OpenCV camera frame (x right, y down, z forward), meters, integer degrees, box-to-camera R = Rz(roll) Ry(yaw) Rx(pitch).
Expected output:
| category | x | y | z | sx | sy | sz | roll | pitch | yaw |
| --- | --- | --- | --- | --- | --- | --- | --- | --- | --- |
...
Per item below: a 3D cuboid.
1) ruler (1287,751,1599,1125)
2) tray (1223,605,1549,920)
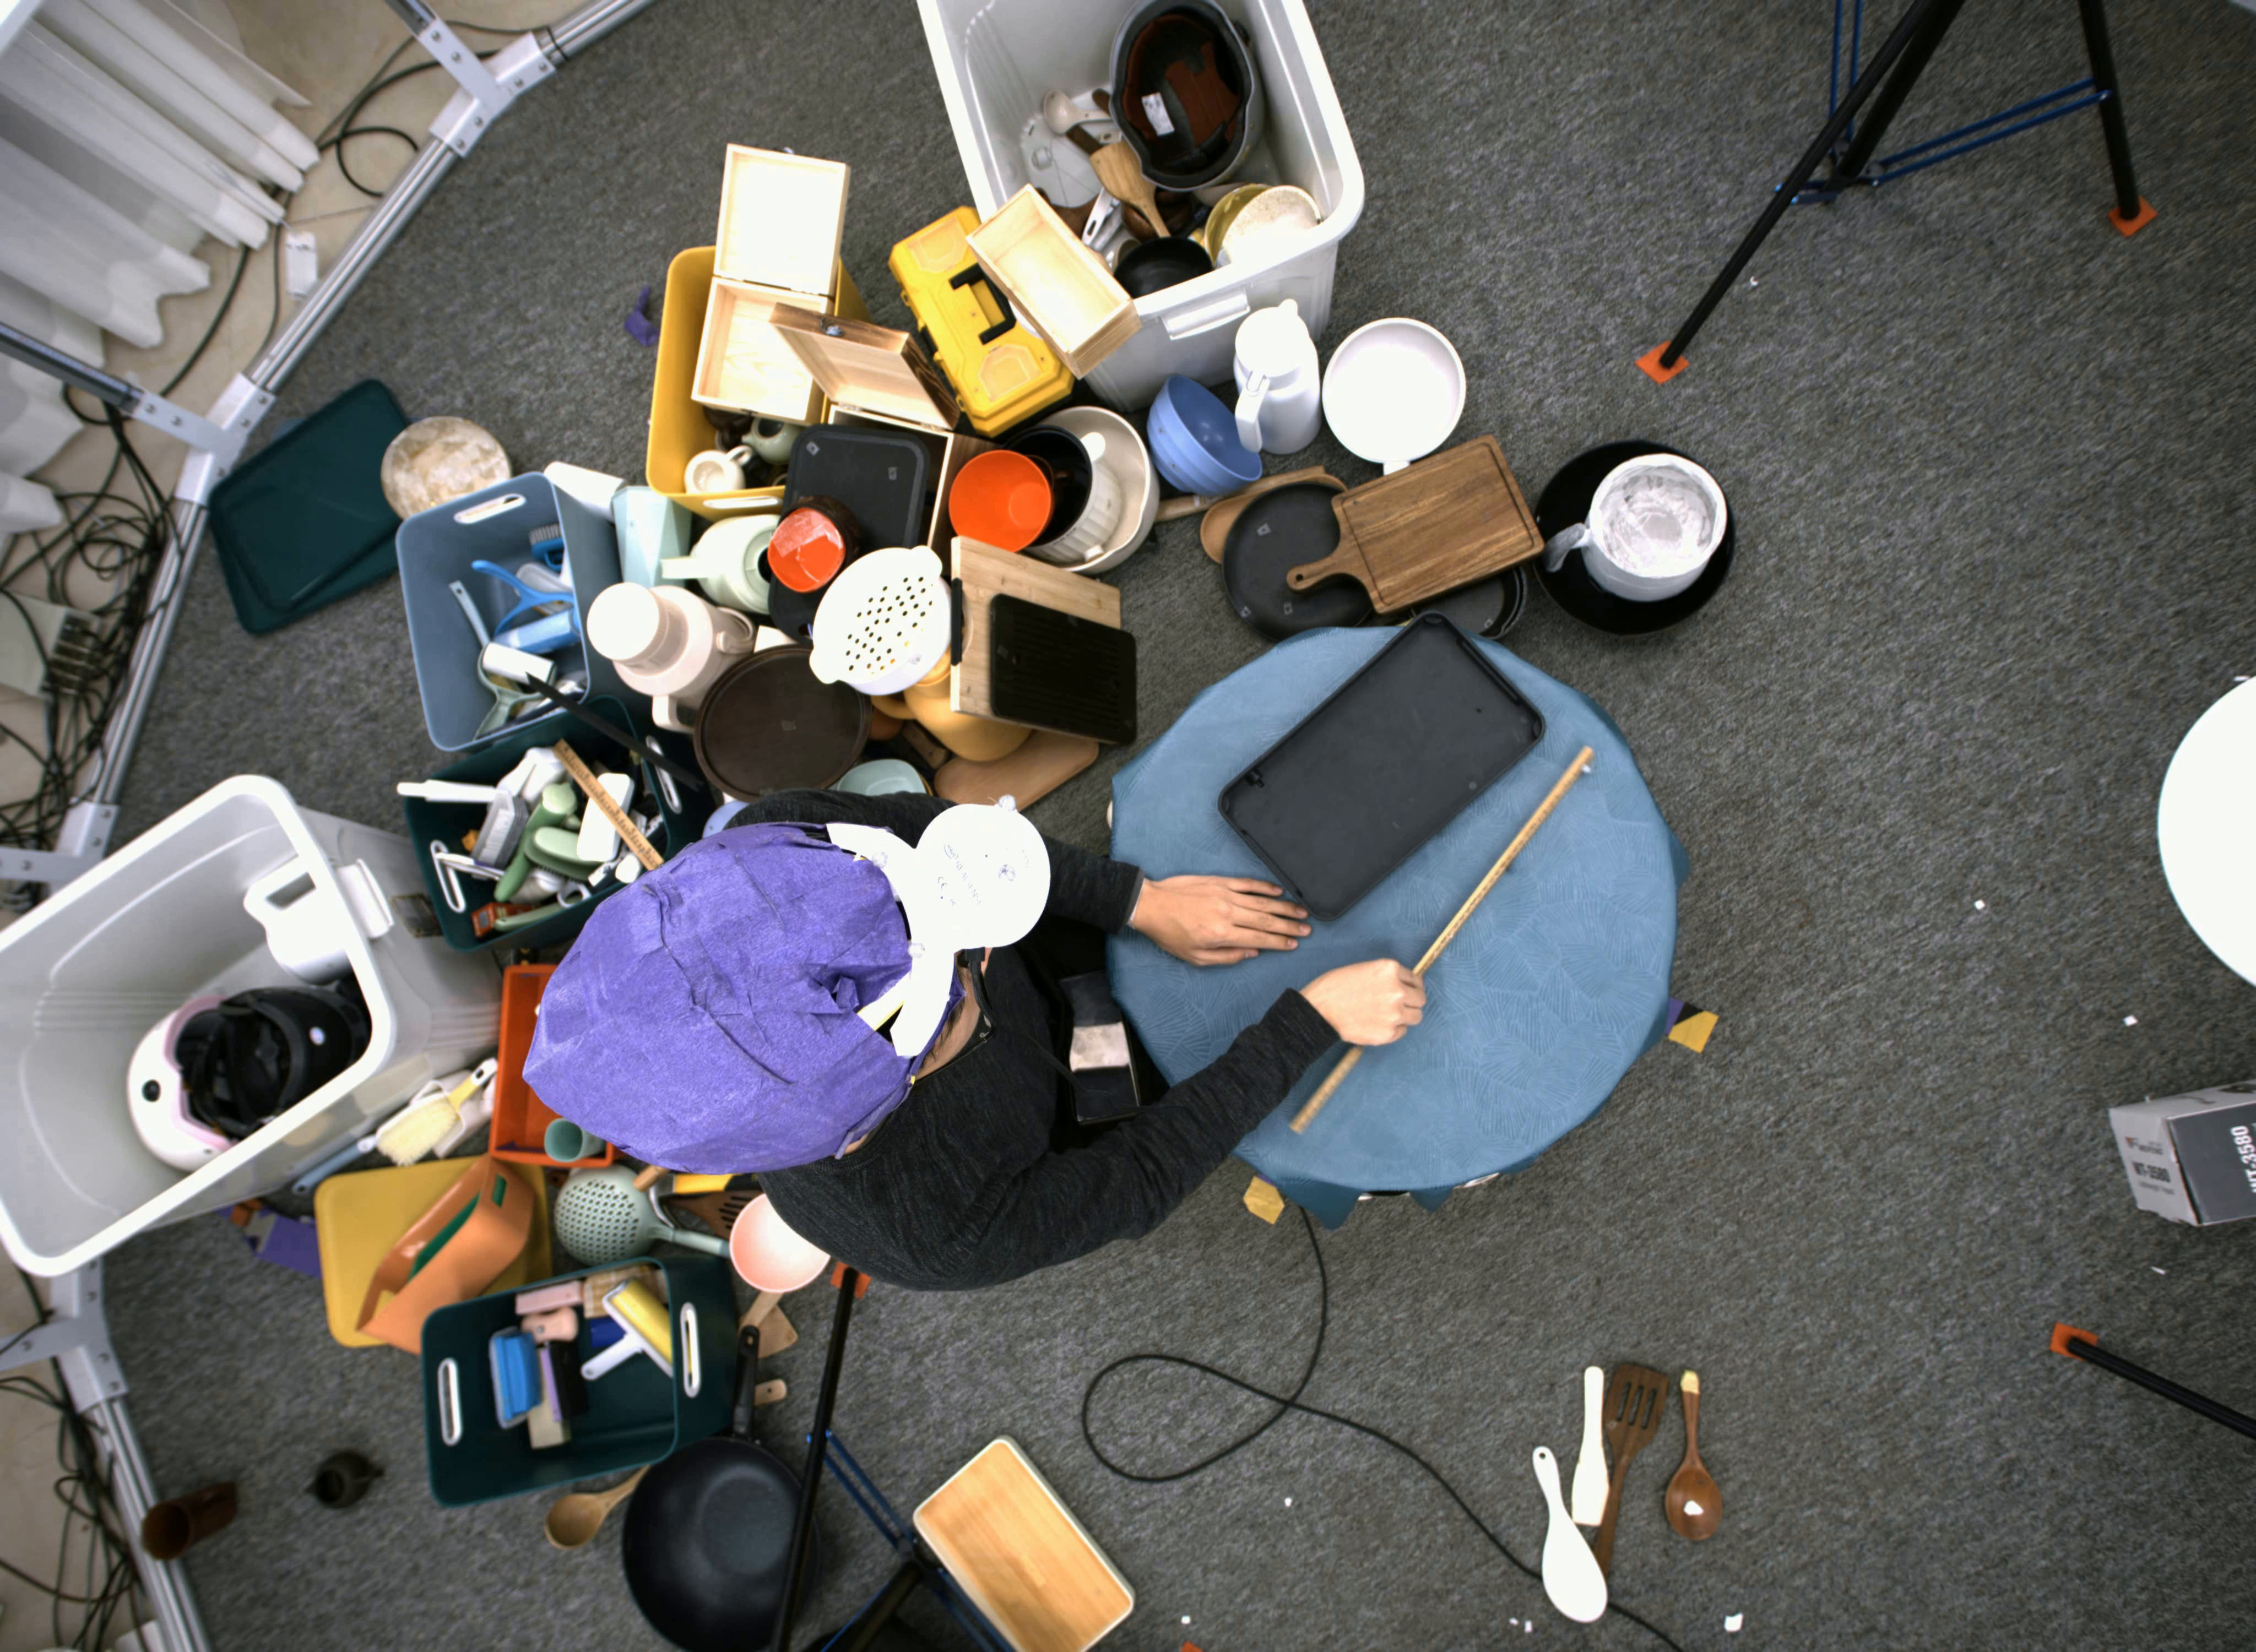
| category | x | y | z | sx | sy | sz | roll | pitch | yaw |
| --- | --- | --- | --- | --- | --- | --- | --- | --- | --- |
| ruler | 0.328 | 0.115 | 1.431 | 0.006 | 0.027 | 0.502 | 41 | 94 | 30 |
| tray | 0.269 | -0.067 | 1.450 | 0.319 | 0.037 | 0.183 | -43 | 80 | 6 |
